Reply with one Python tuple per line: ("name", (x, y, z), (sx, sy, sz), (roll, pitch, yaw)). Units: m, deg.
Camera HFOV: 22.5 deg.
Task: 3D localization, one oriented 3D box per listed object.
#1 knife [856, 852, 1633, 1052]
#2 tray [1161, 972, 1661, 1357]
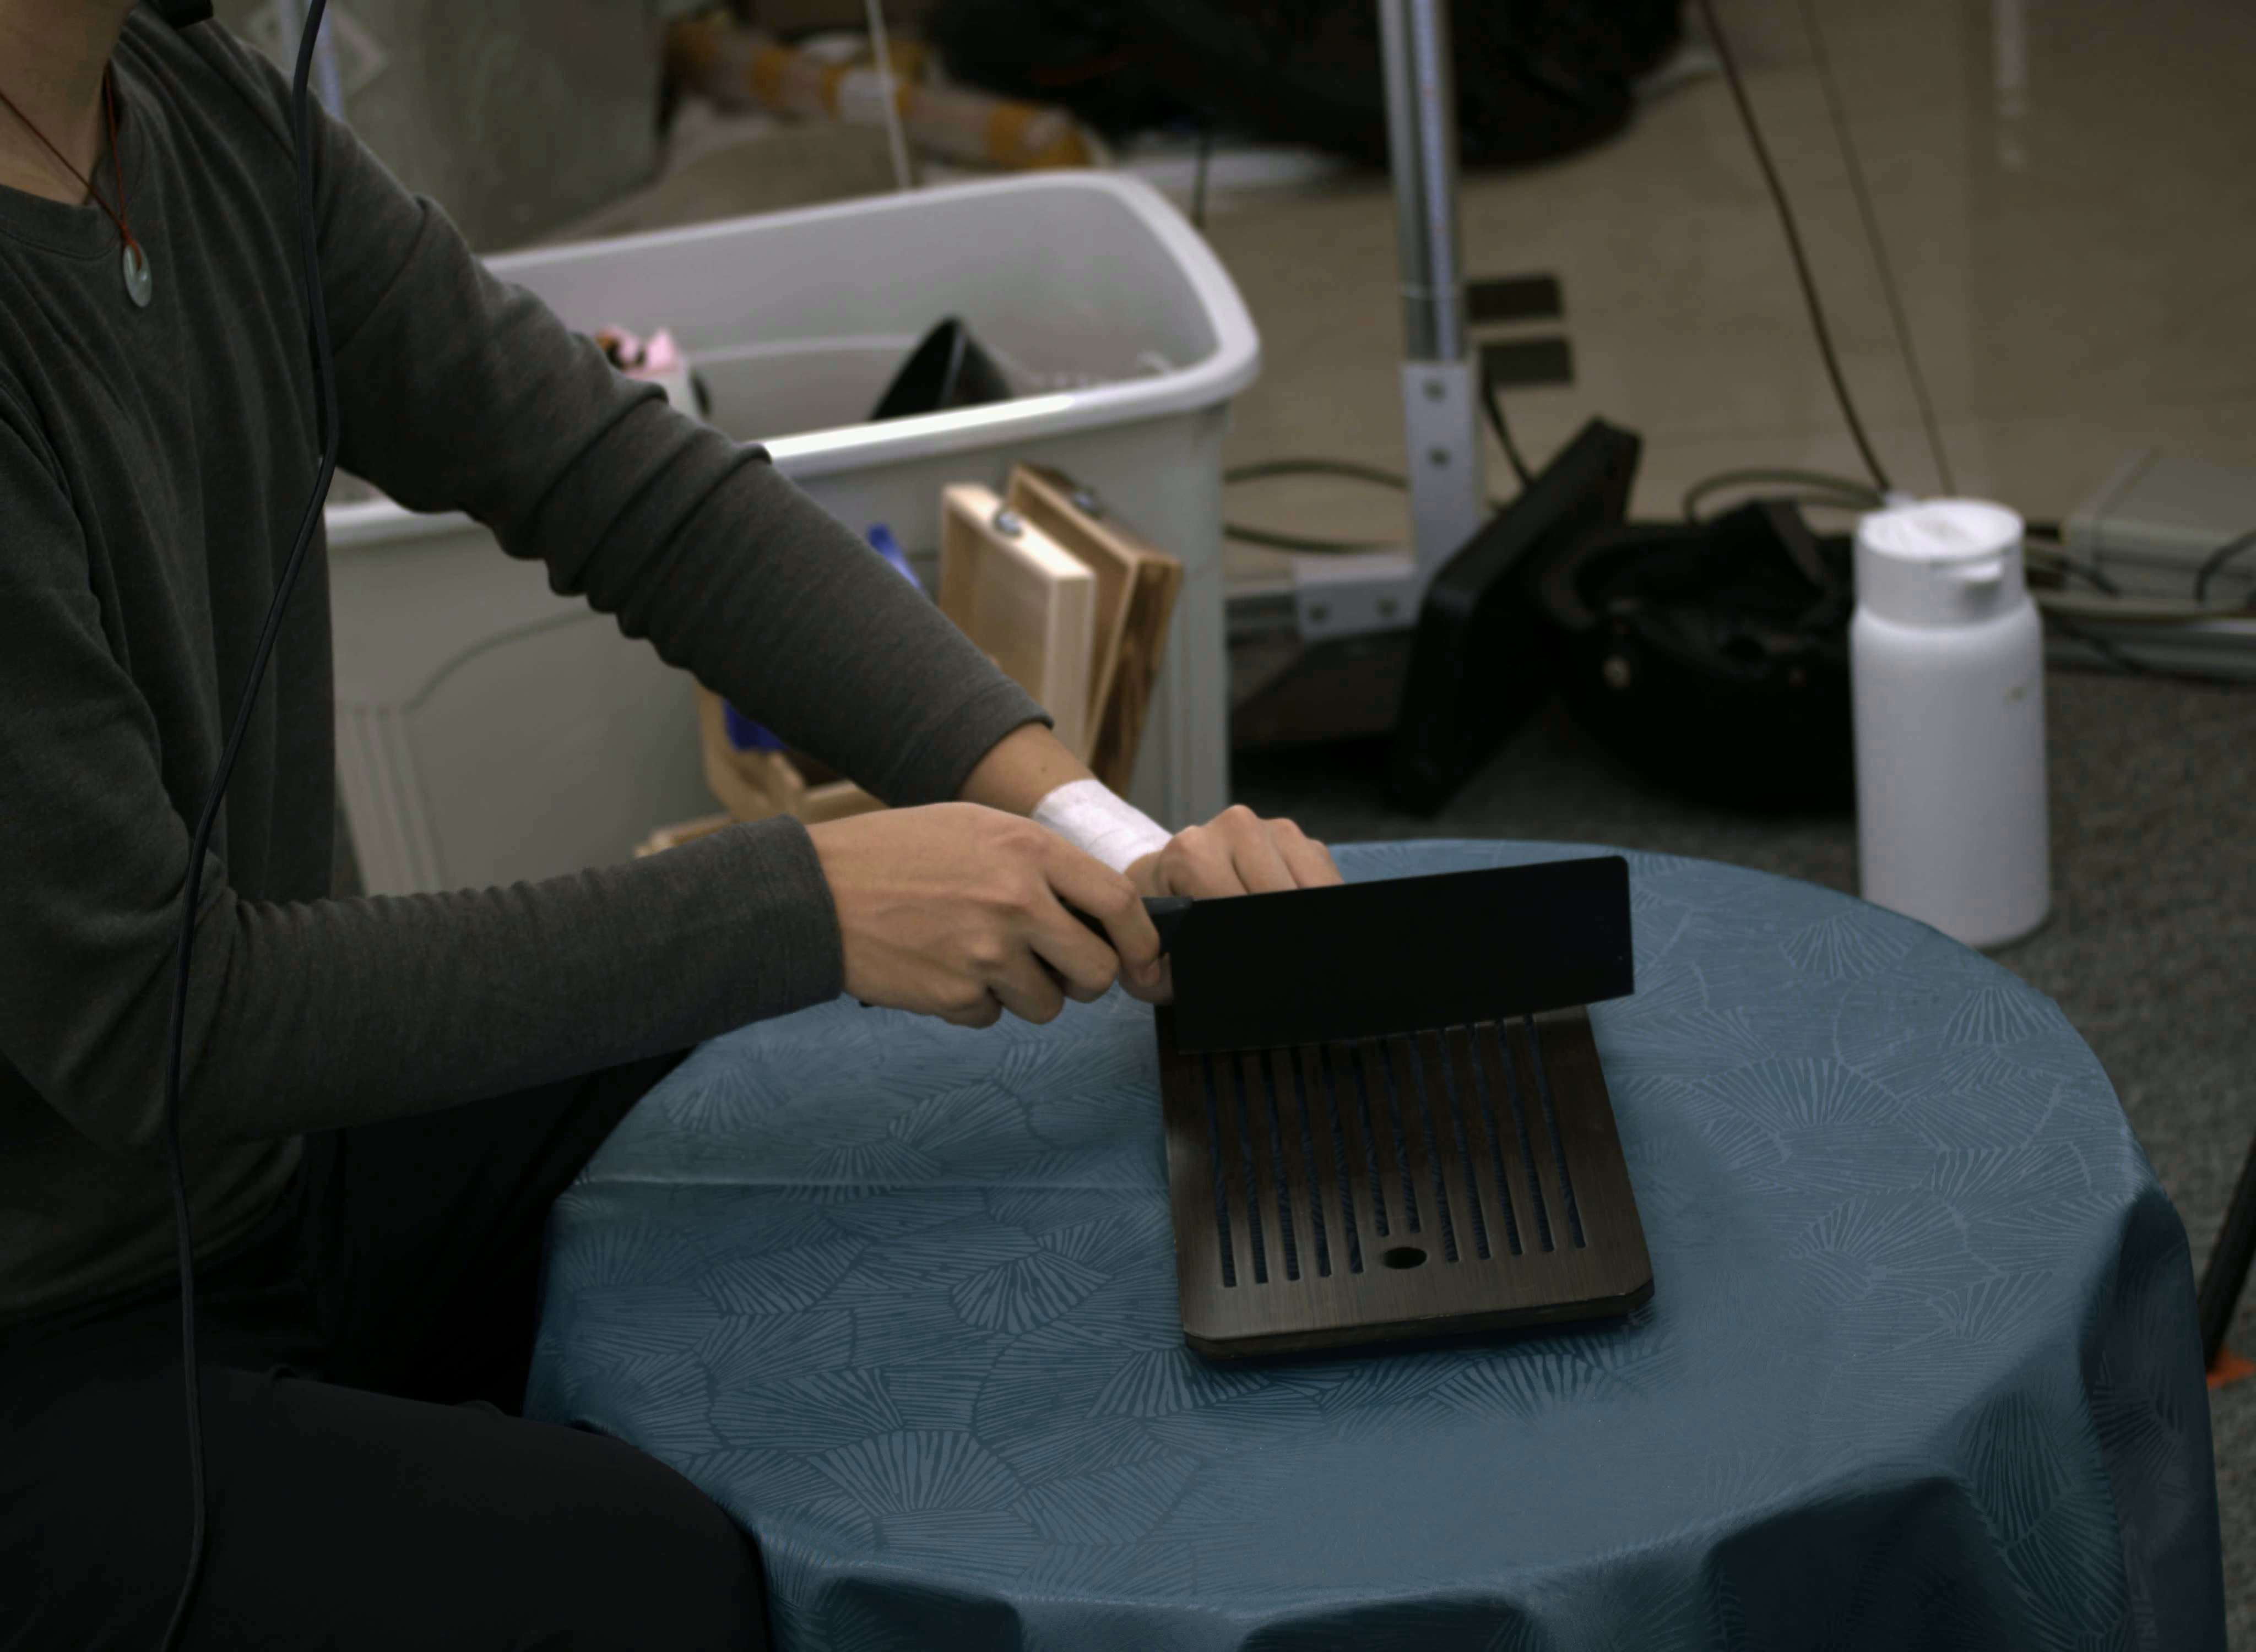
("knife", (0.045, 0.051, 2.193), (0.302, 0.082, 0.020), (-2, 24, -2))
("tray", (0.102, 0.118, 2.149), (0.170, 0.019, 0.301), (-7, 24, 1))
